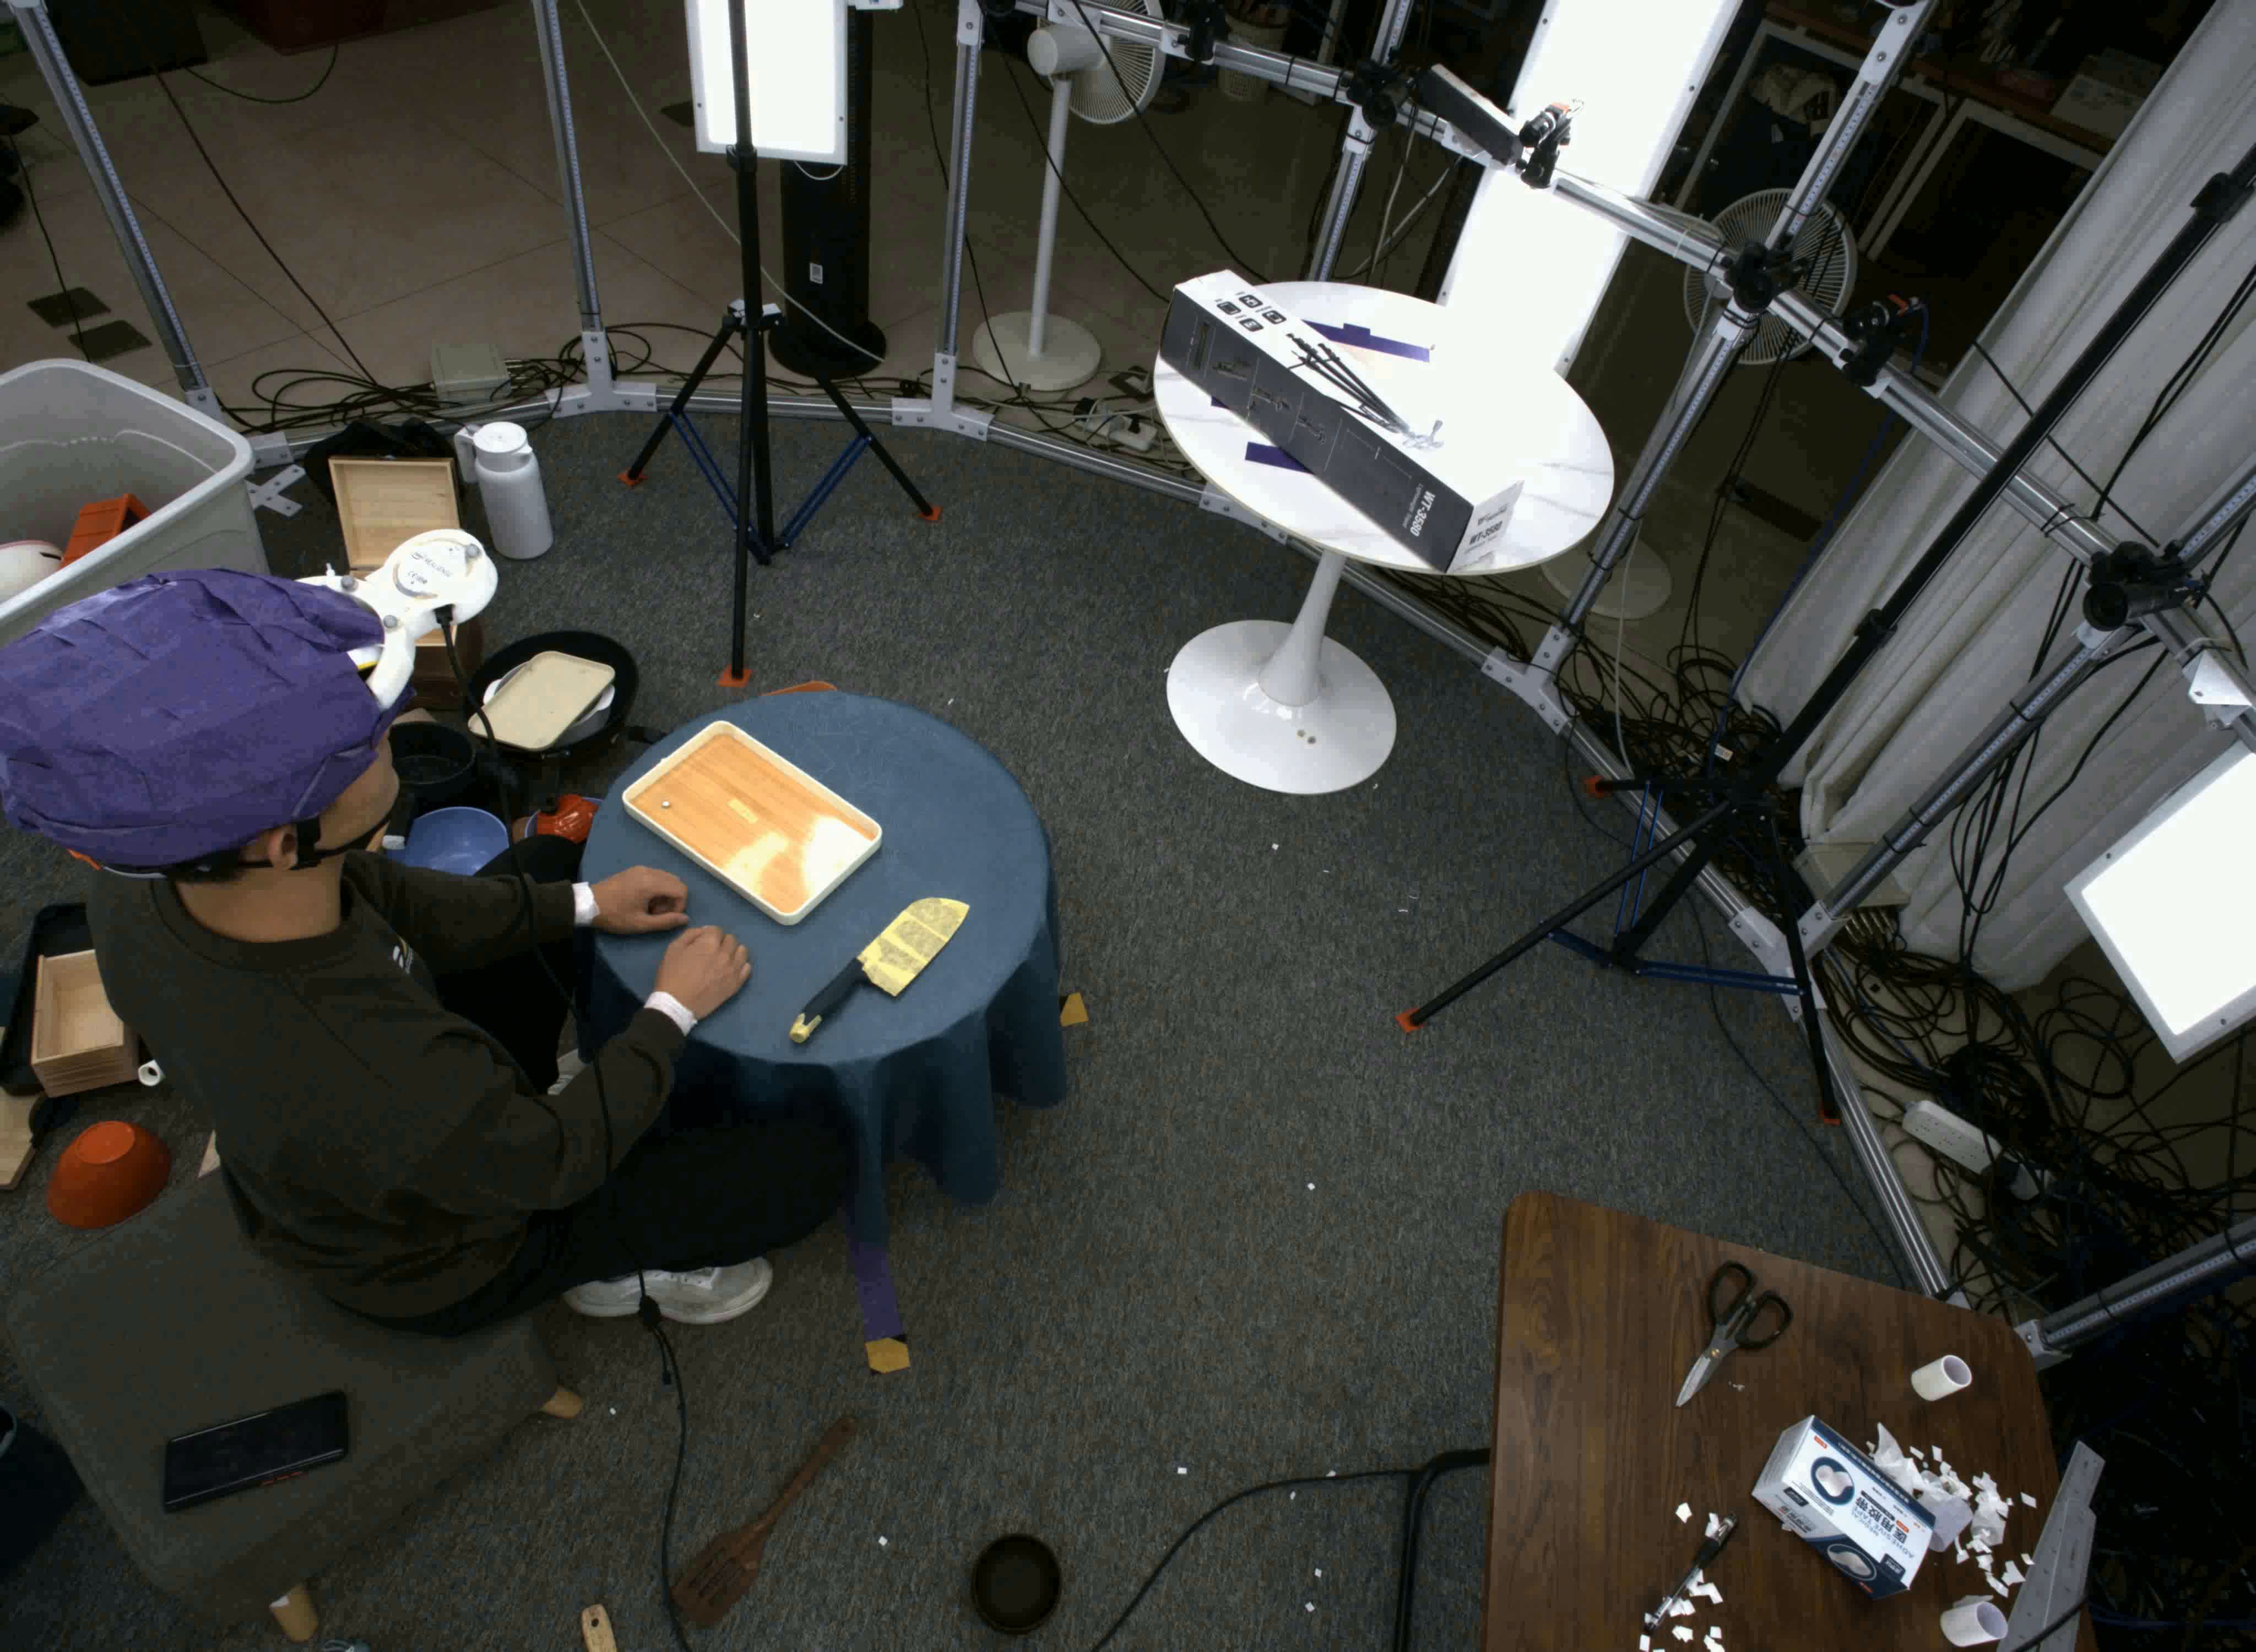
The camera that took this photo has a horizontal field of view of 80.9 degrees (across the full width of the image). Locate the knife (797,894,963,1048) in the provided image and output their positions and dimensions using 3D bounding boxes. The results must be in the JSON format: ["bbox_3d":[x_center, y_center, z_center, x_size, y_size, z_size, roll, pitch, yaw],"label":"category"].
[{"bbox_3d":[-0.304,0.176,1.626,0.079,0.028,0.289,33,52,13],"label":"knife"}]

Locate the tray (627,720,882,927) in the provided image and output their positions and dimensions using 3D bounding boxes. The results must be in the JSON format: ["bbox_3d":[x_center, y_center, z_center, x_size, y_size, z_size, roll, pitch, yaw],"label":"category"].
[{"bbox_3d":[-0.493,-0.009,1.707,0.295,0.028,0.191,33,54,11],"label":"tray"}]
